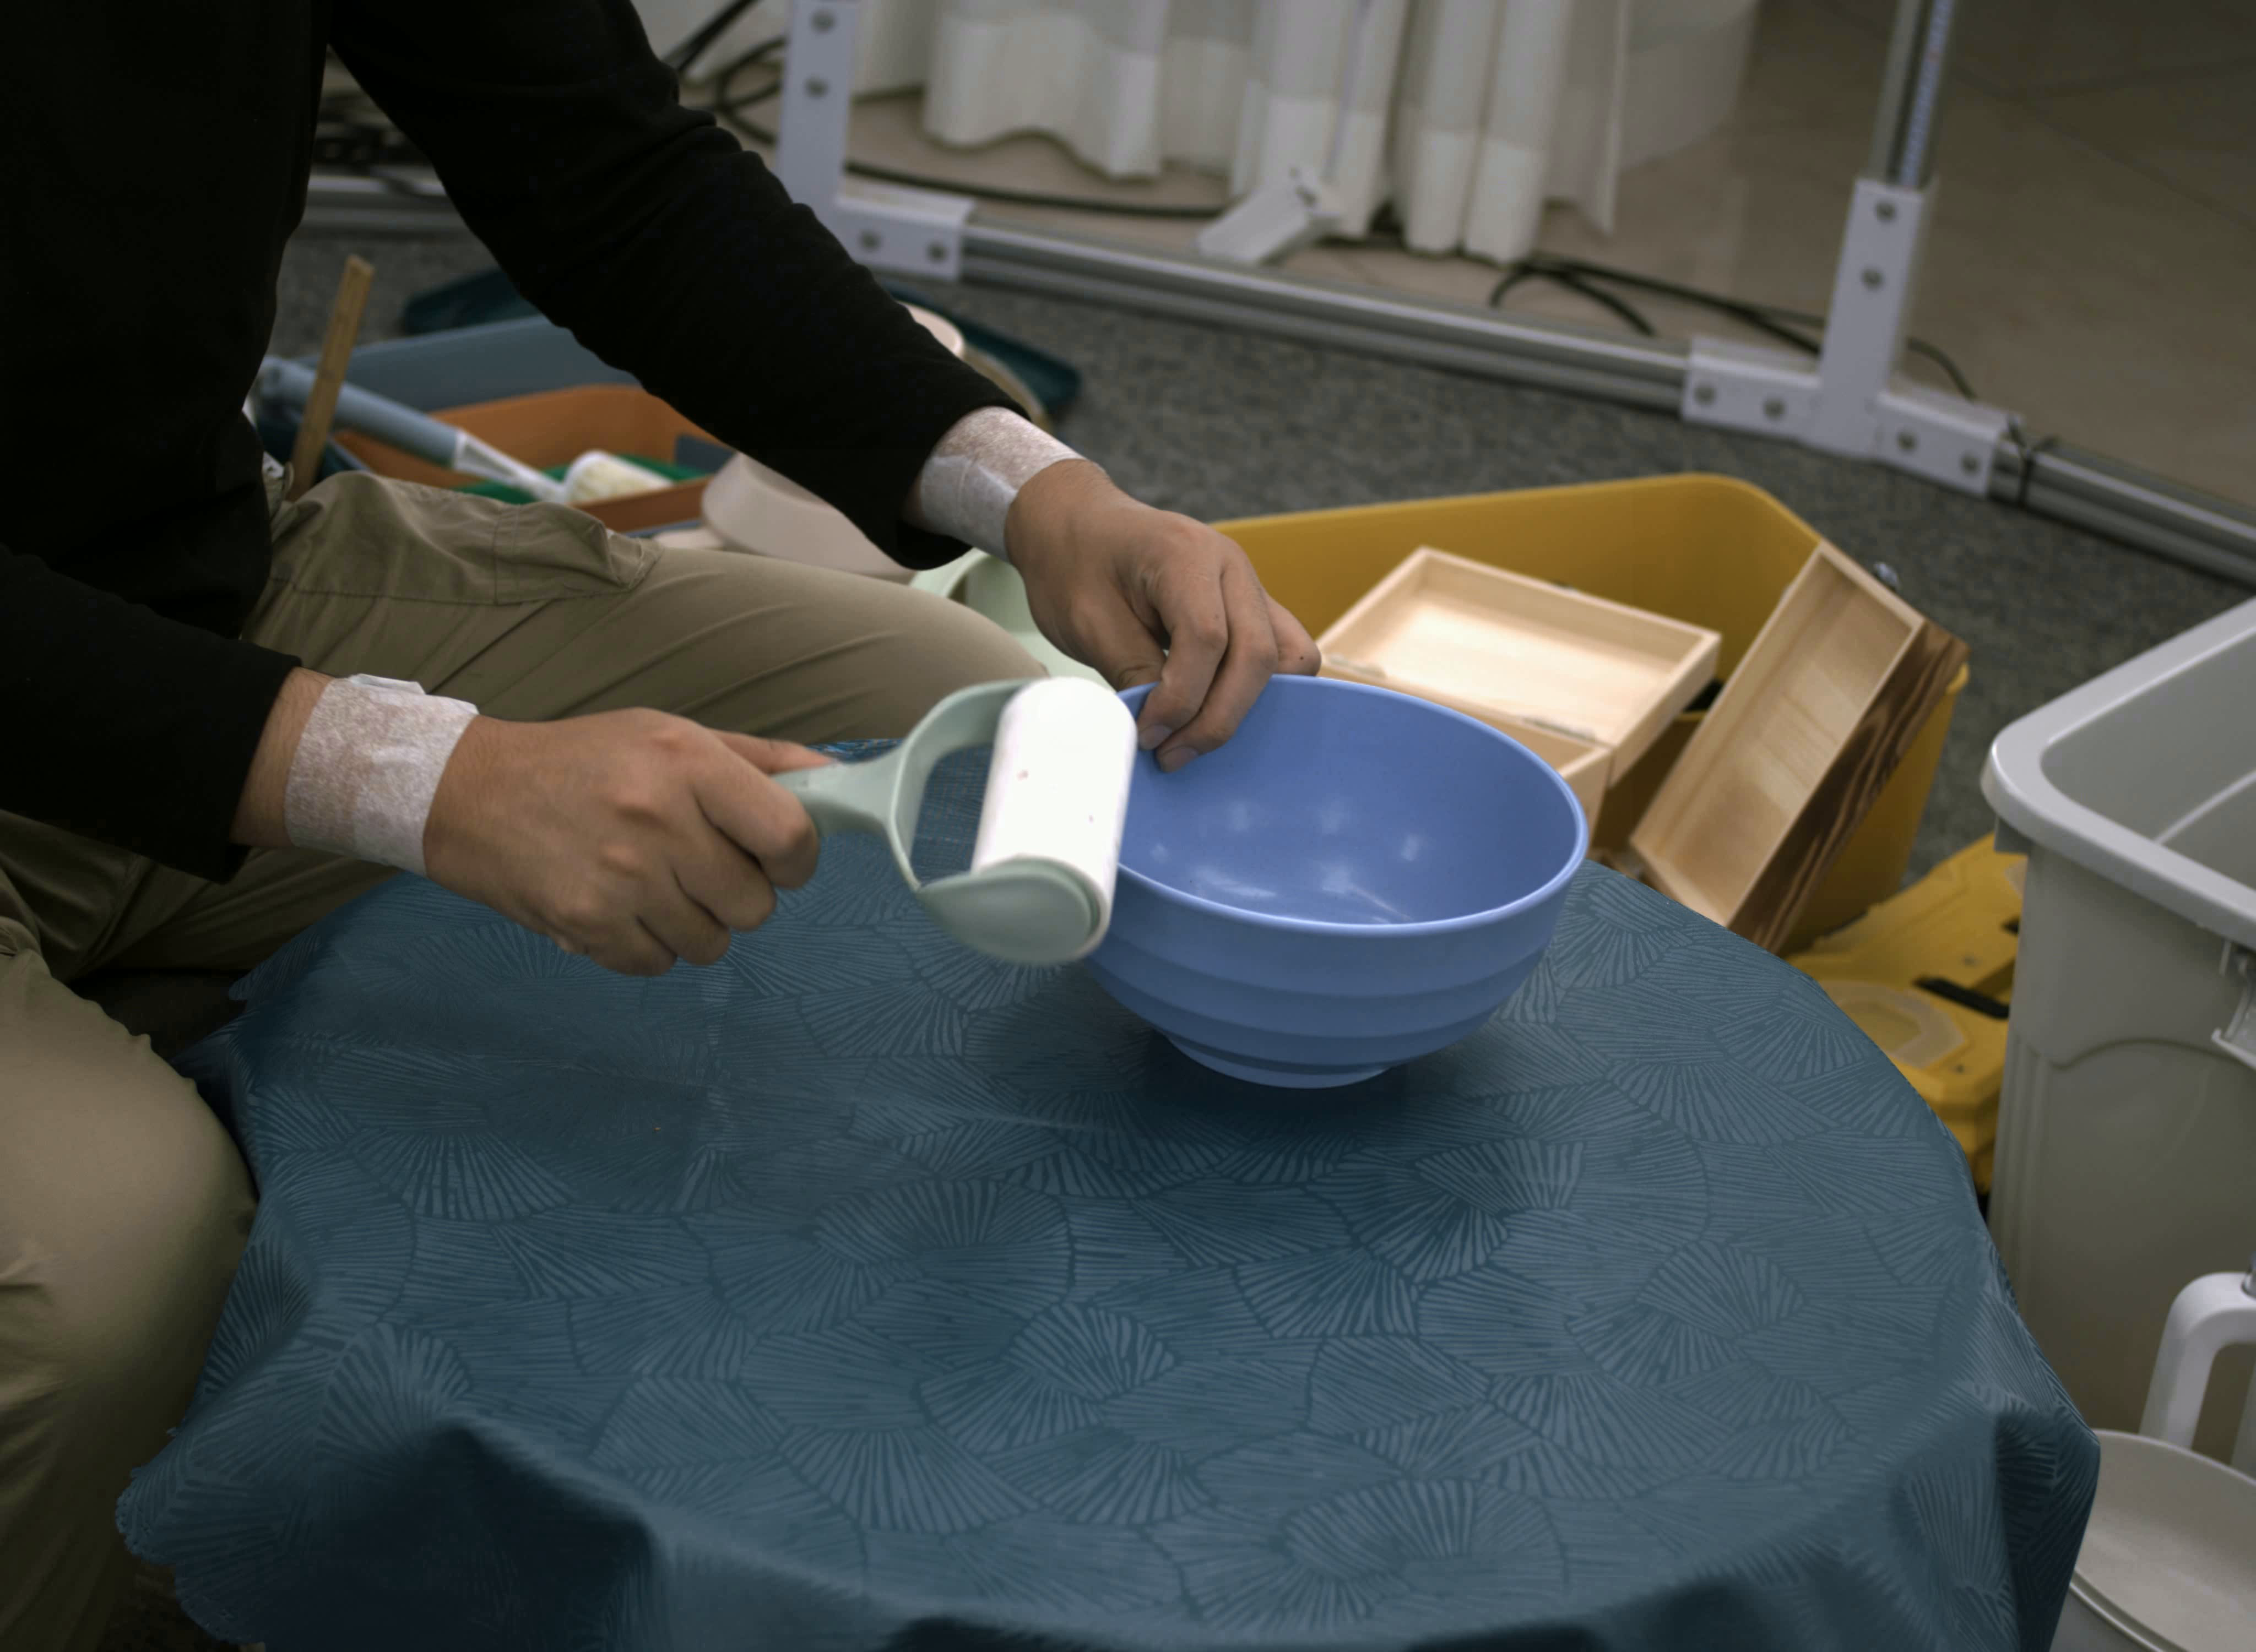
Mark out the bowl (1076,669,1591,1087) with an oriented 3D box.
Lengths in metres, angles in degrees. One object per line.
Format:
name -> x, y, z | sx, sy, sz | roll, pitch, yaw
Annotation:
bowl -> 0.061, 0.029, 1.894 | 0.196, 0.095, 0.198 | 5, 28, -3

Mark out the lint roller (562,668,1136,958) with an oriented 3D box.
lint roller -> -0.096, 0.001, 1.775 | 0.197, 0.048, 0.117 | -4, 37, 11
